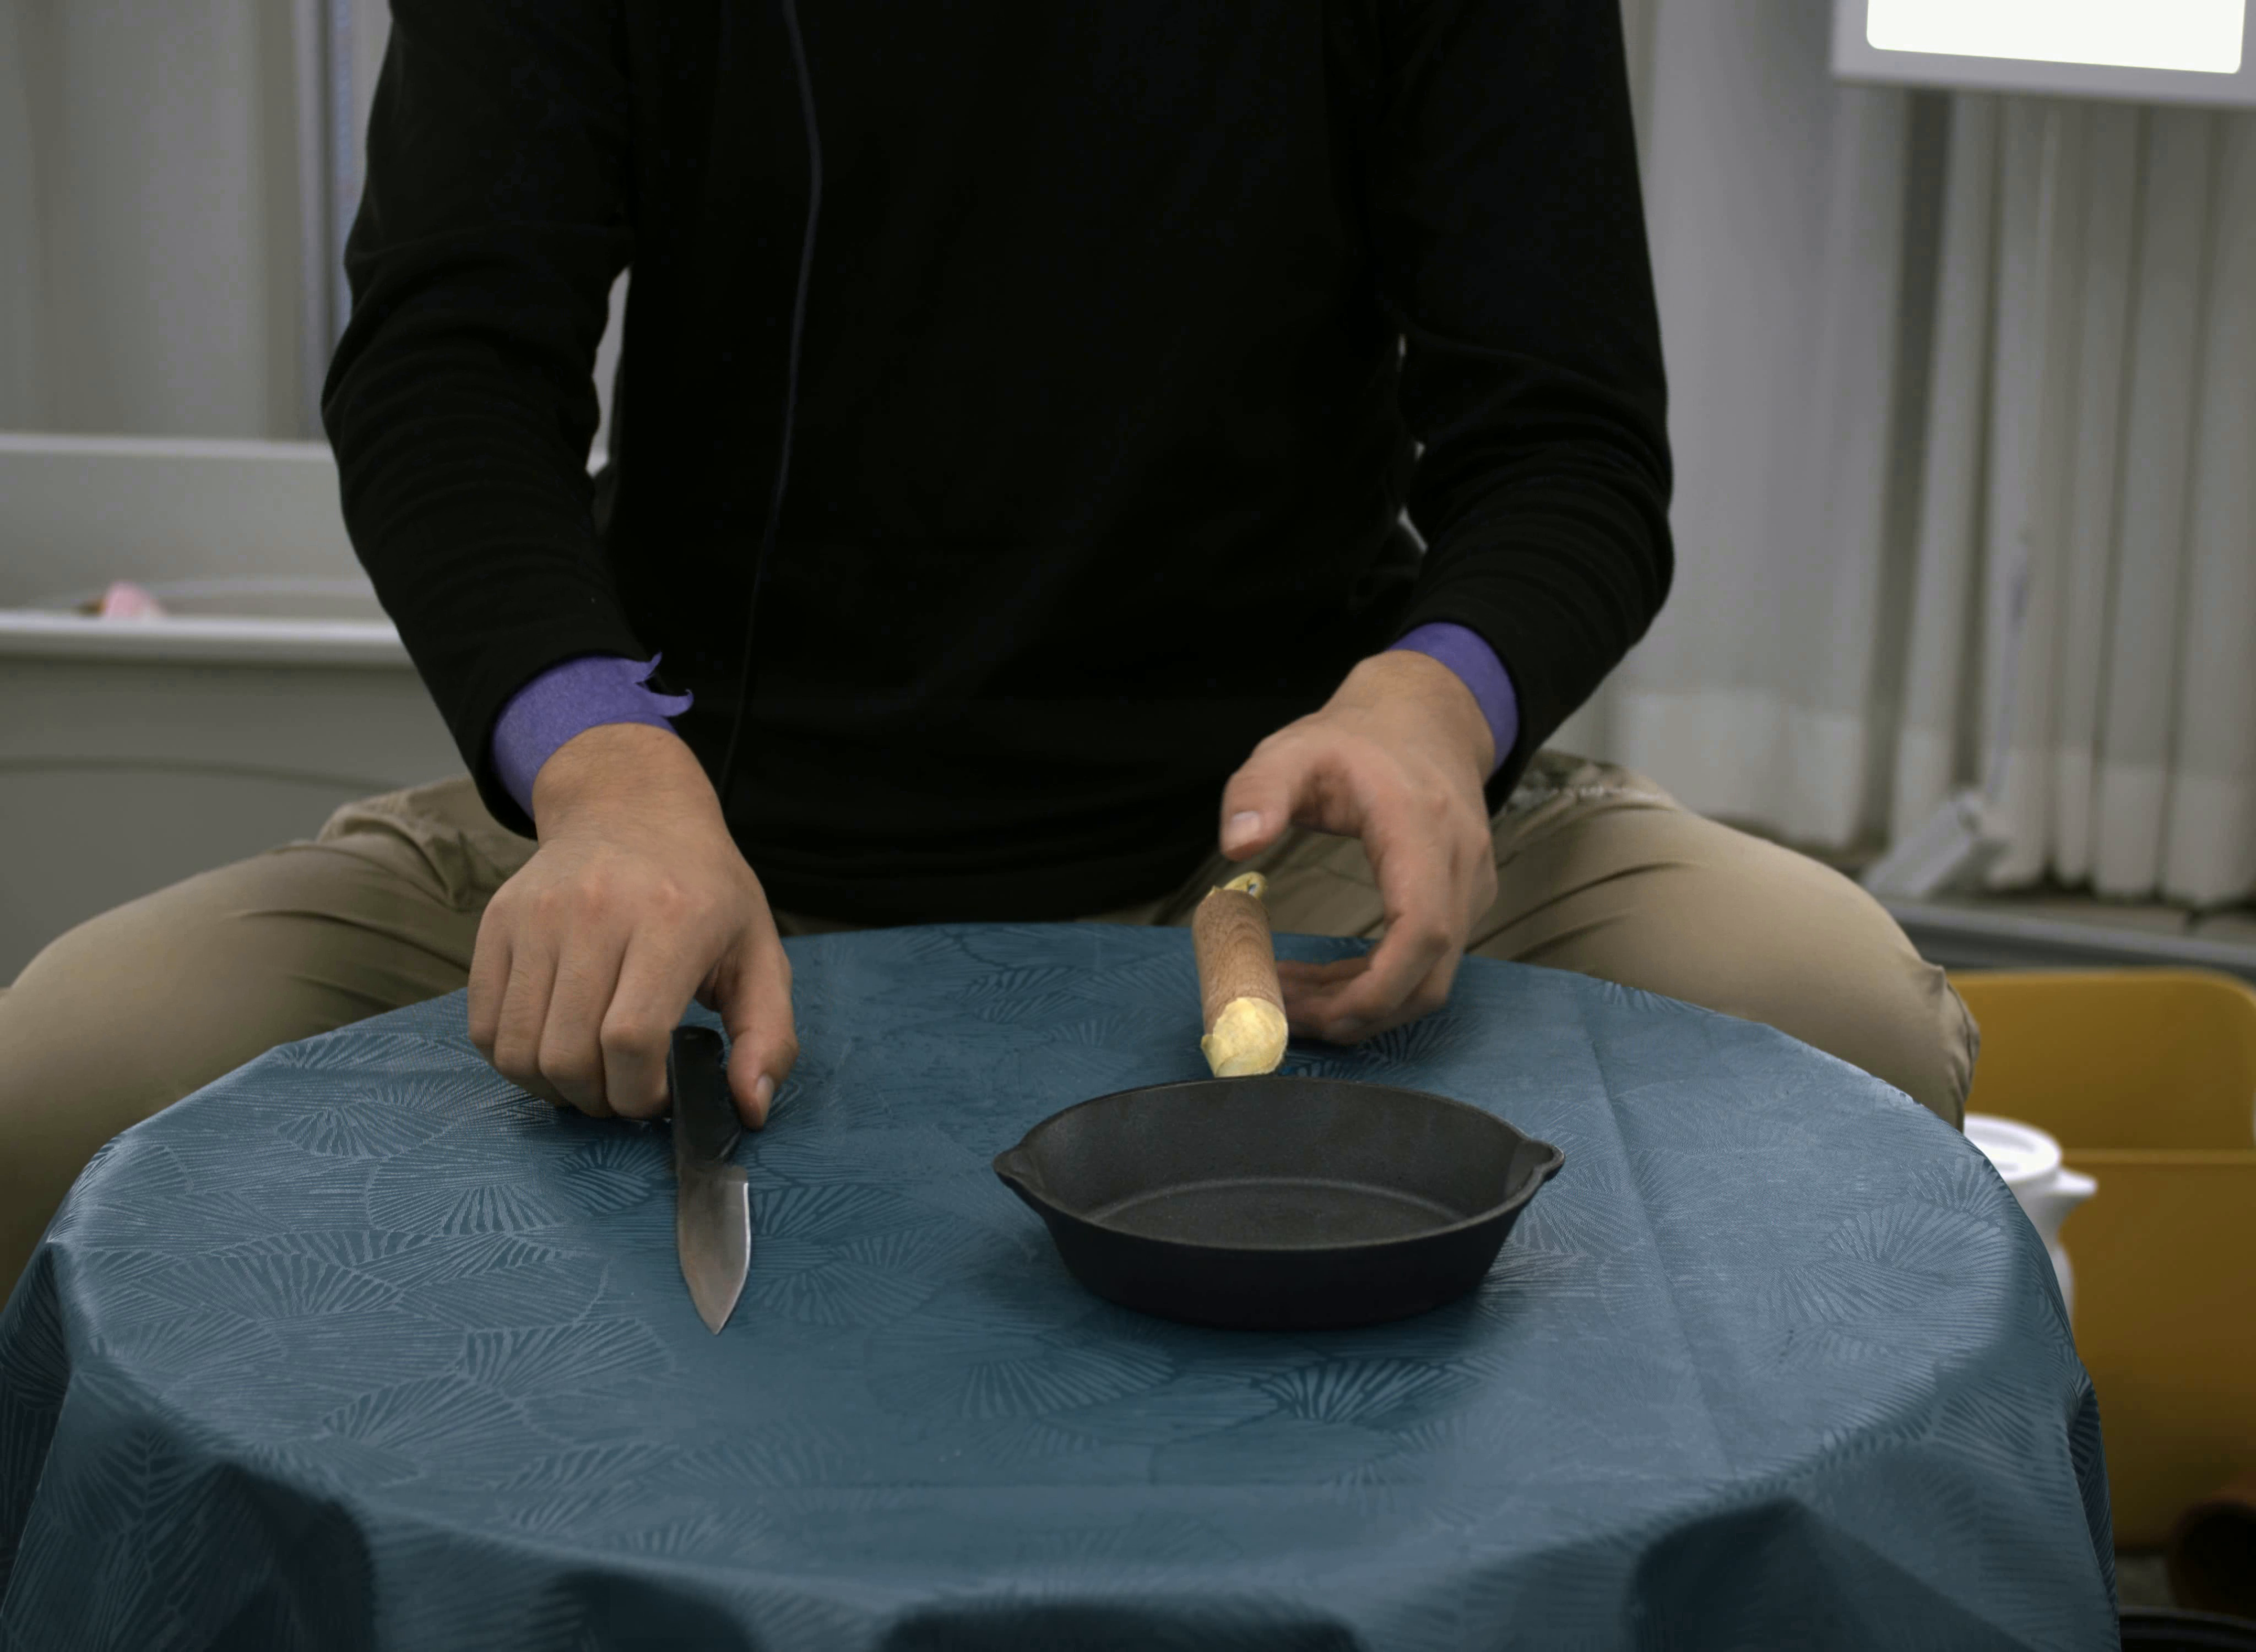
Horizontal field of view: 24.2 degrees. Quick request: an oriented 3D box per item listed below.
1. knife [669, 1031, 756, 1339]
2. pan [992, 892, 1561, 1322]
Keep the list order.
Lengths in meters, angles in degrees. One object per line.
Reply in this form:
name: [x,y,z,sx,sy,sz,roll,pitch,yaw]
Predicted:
knife: [-0.129,0.109,1.611,0.024,0.016,0.236,0,18,-6]
pan: [0.043,0.084,1.639,0.168,0.050,0.322,0,15,-1]
